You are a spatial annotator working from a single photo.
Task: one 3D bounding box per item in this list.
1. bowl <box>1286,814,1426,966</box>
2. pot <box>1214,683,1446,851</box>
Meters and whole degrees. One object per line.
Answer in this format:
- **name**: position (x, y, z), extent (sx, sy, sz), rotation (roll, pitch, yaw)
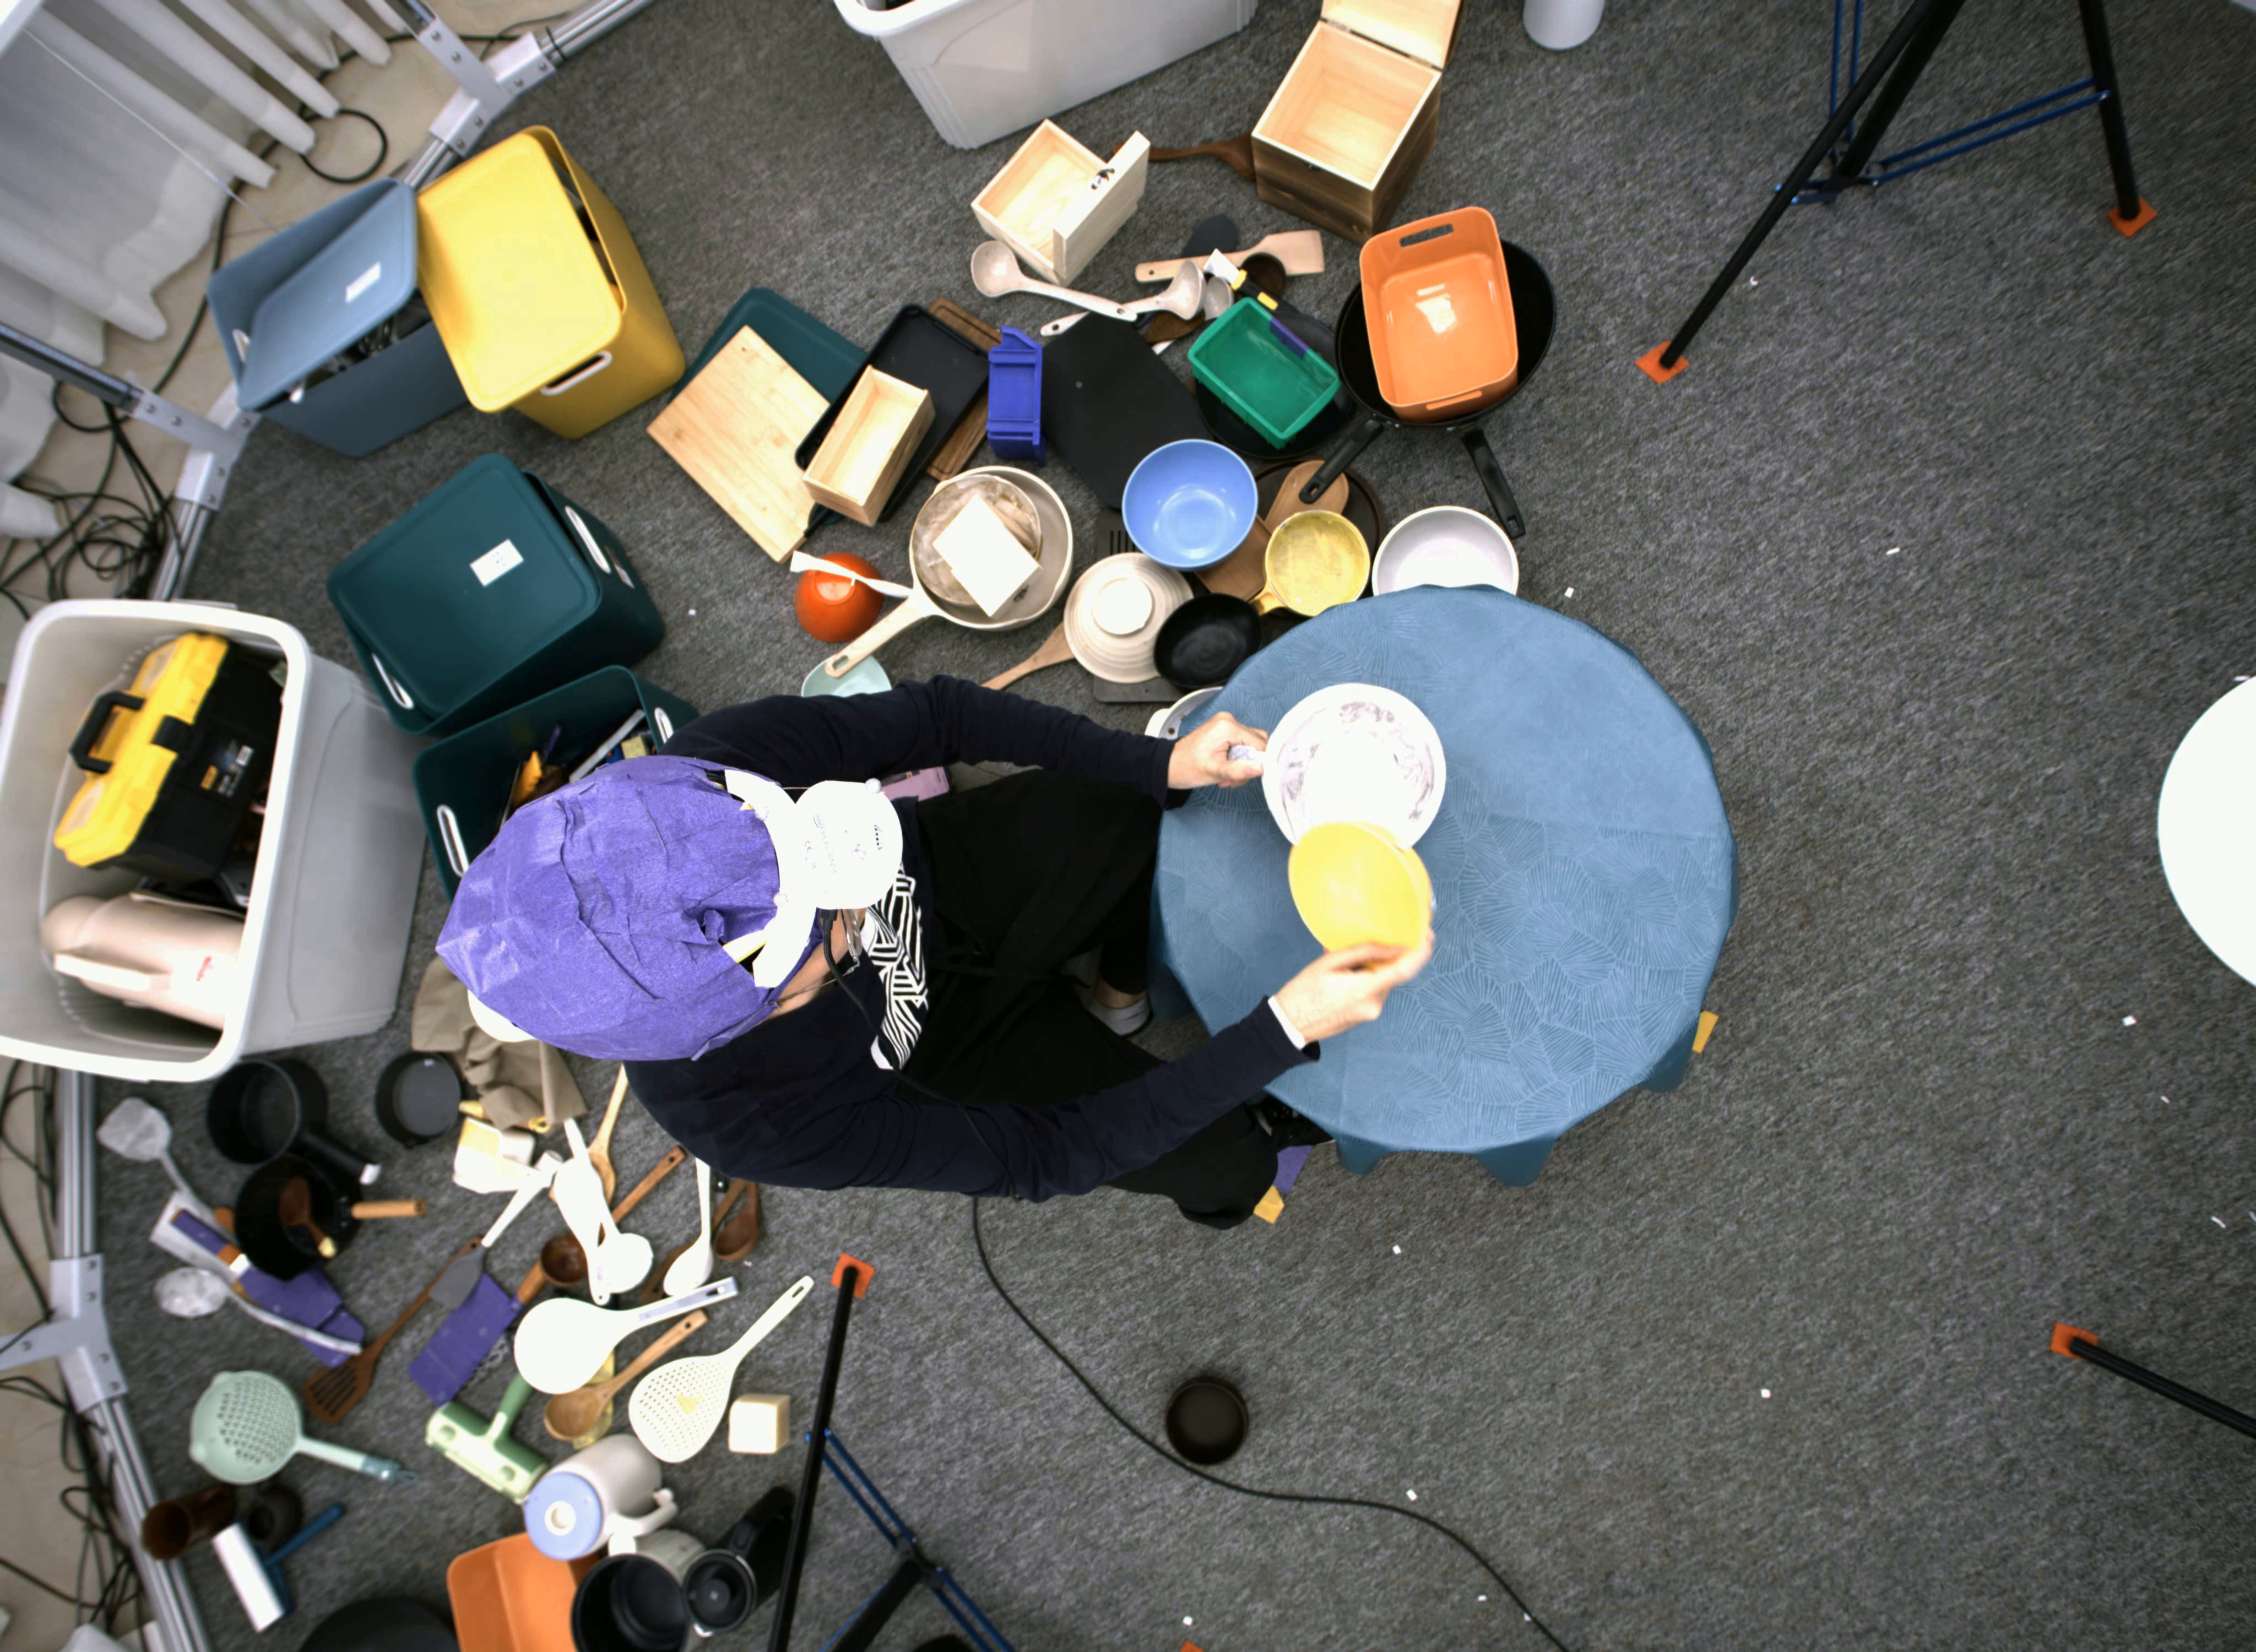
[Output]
- **bowl**: position (0.215, 0.048, 1.240), extent (0.059, 0.149, 0.144), rotation (-28, 78, -37)
- **pot**: position (0.200, -0.049, 1.404), extent (0.234, 0.137, 0.178), rotation (8, 87, 9)
